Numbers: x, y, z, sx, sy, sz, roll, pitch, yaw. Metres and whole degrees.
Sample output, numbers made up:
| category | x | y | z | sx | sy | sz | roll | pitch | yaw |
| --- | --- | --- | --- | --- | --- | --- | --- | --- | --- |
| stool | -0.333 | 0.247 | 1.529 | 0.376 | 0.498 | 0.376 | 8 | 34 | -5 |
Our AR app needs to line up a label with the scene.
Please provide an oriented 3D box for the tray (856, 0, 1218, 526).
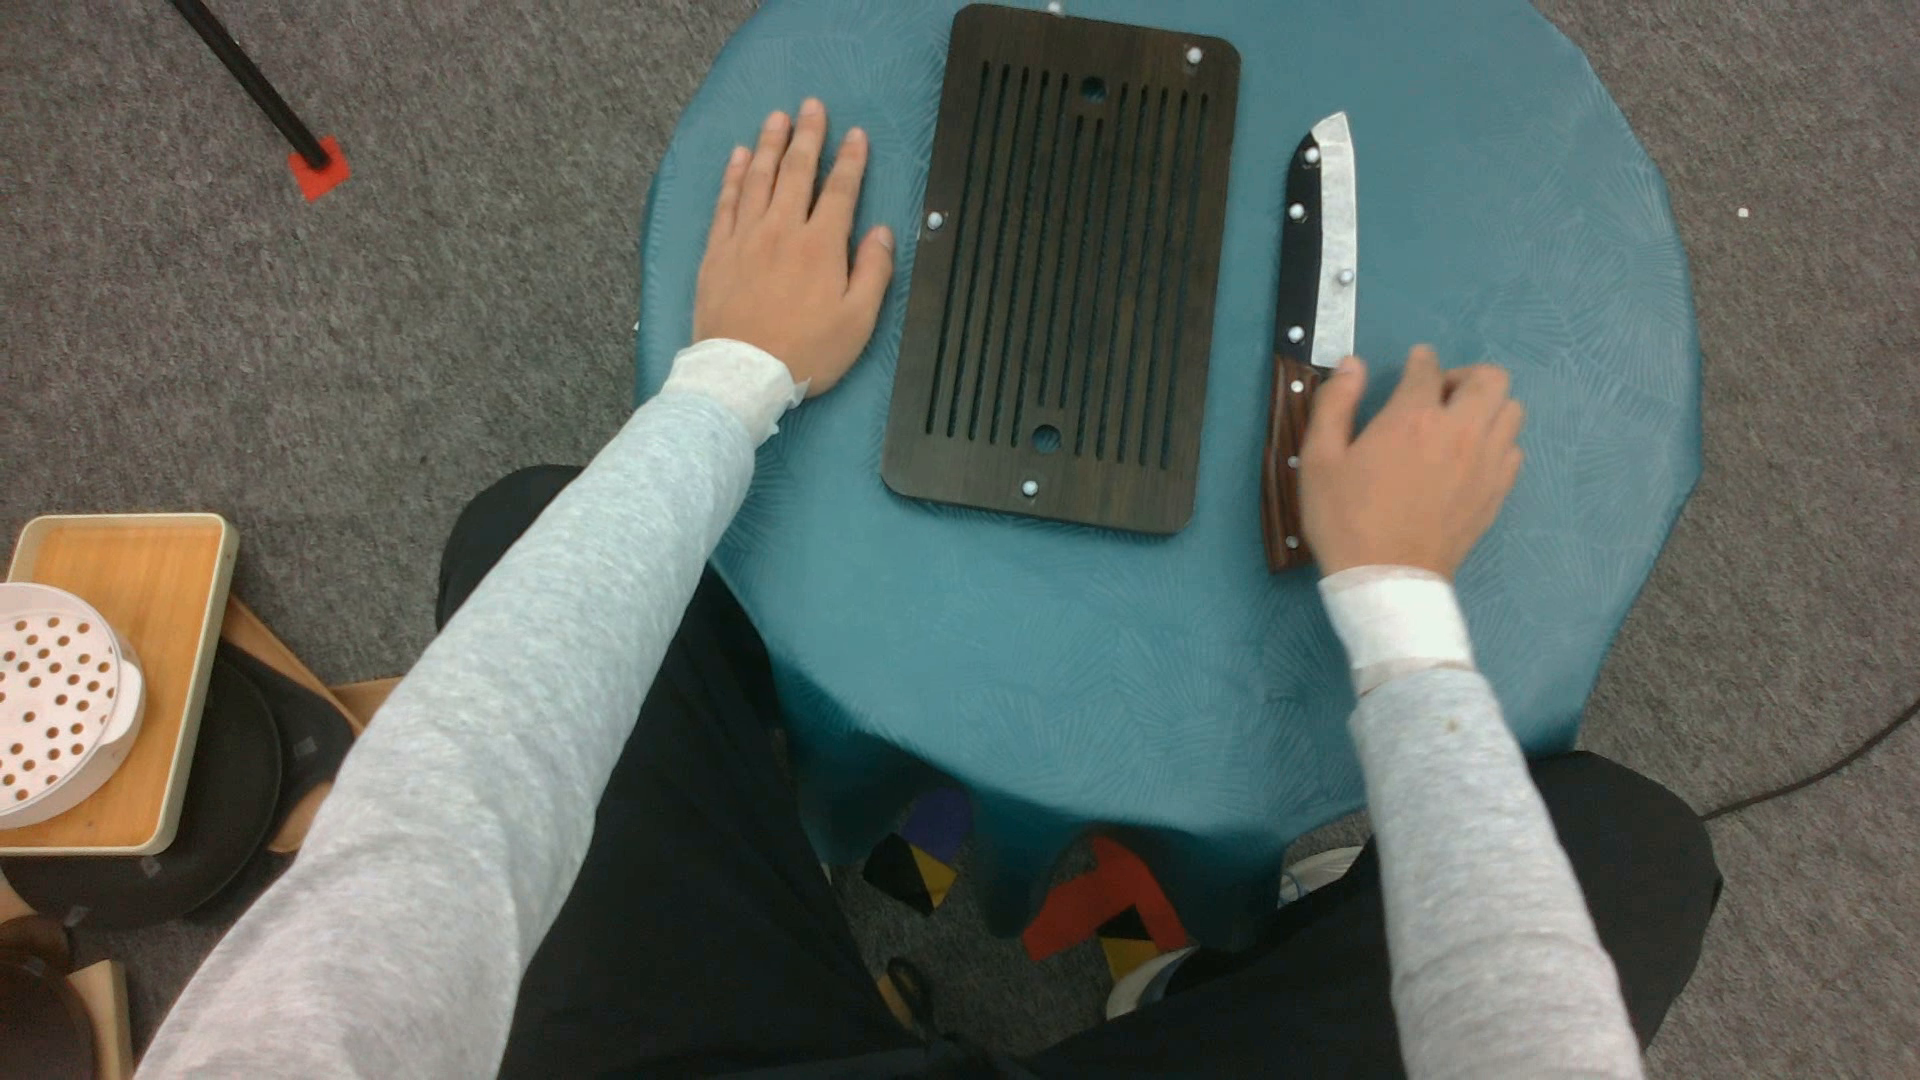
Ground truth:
| category | x | y | z | sx | sy | sz | roll | pitch | yaw |
| --- | --- | --- | --- | --- | --- | --- | --- | --- | --- |
| tray | 0.048 | -0.163 | 0.773 | 0.170 | 0.018 | 0.306 | 9 | 74 | -1 |

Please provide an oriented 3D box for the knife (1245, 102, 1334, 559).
| category | x | y | z | sx | sy | sz | roll | pitch | yaw |
| --- | --- | --- | --- | --- | --- | --- | --- | --- | --- |
| knife | 0.186 | -0.125 | 0.771 | 0.050 | 0.020 | 0.290 | 12 | 71 | -6 |
